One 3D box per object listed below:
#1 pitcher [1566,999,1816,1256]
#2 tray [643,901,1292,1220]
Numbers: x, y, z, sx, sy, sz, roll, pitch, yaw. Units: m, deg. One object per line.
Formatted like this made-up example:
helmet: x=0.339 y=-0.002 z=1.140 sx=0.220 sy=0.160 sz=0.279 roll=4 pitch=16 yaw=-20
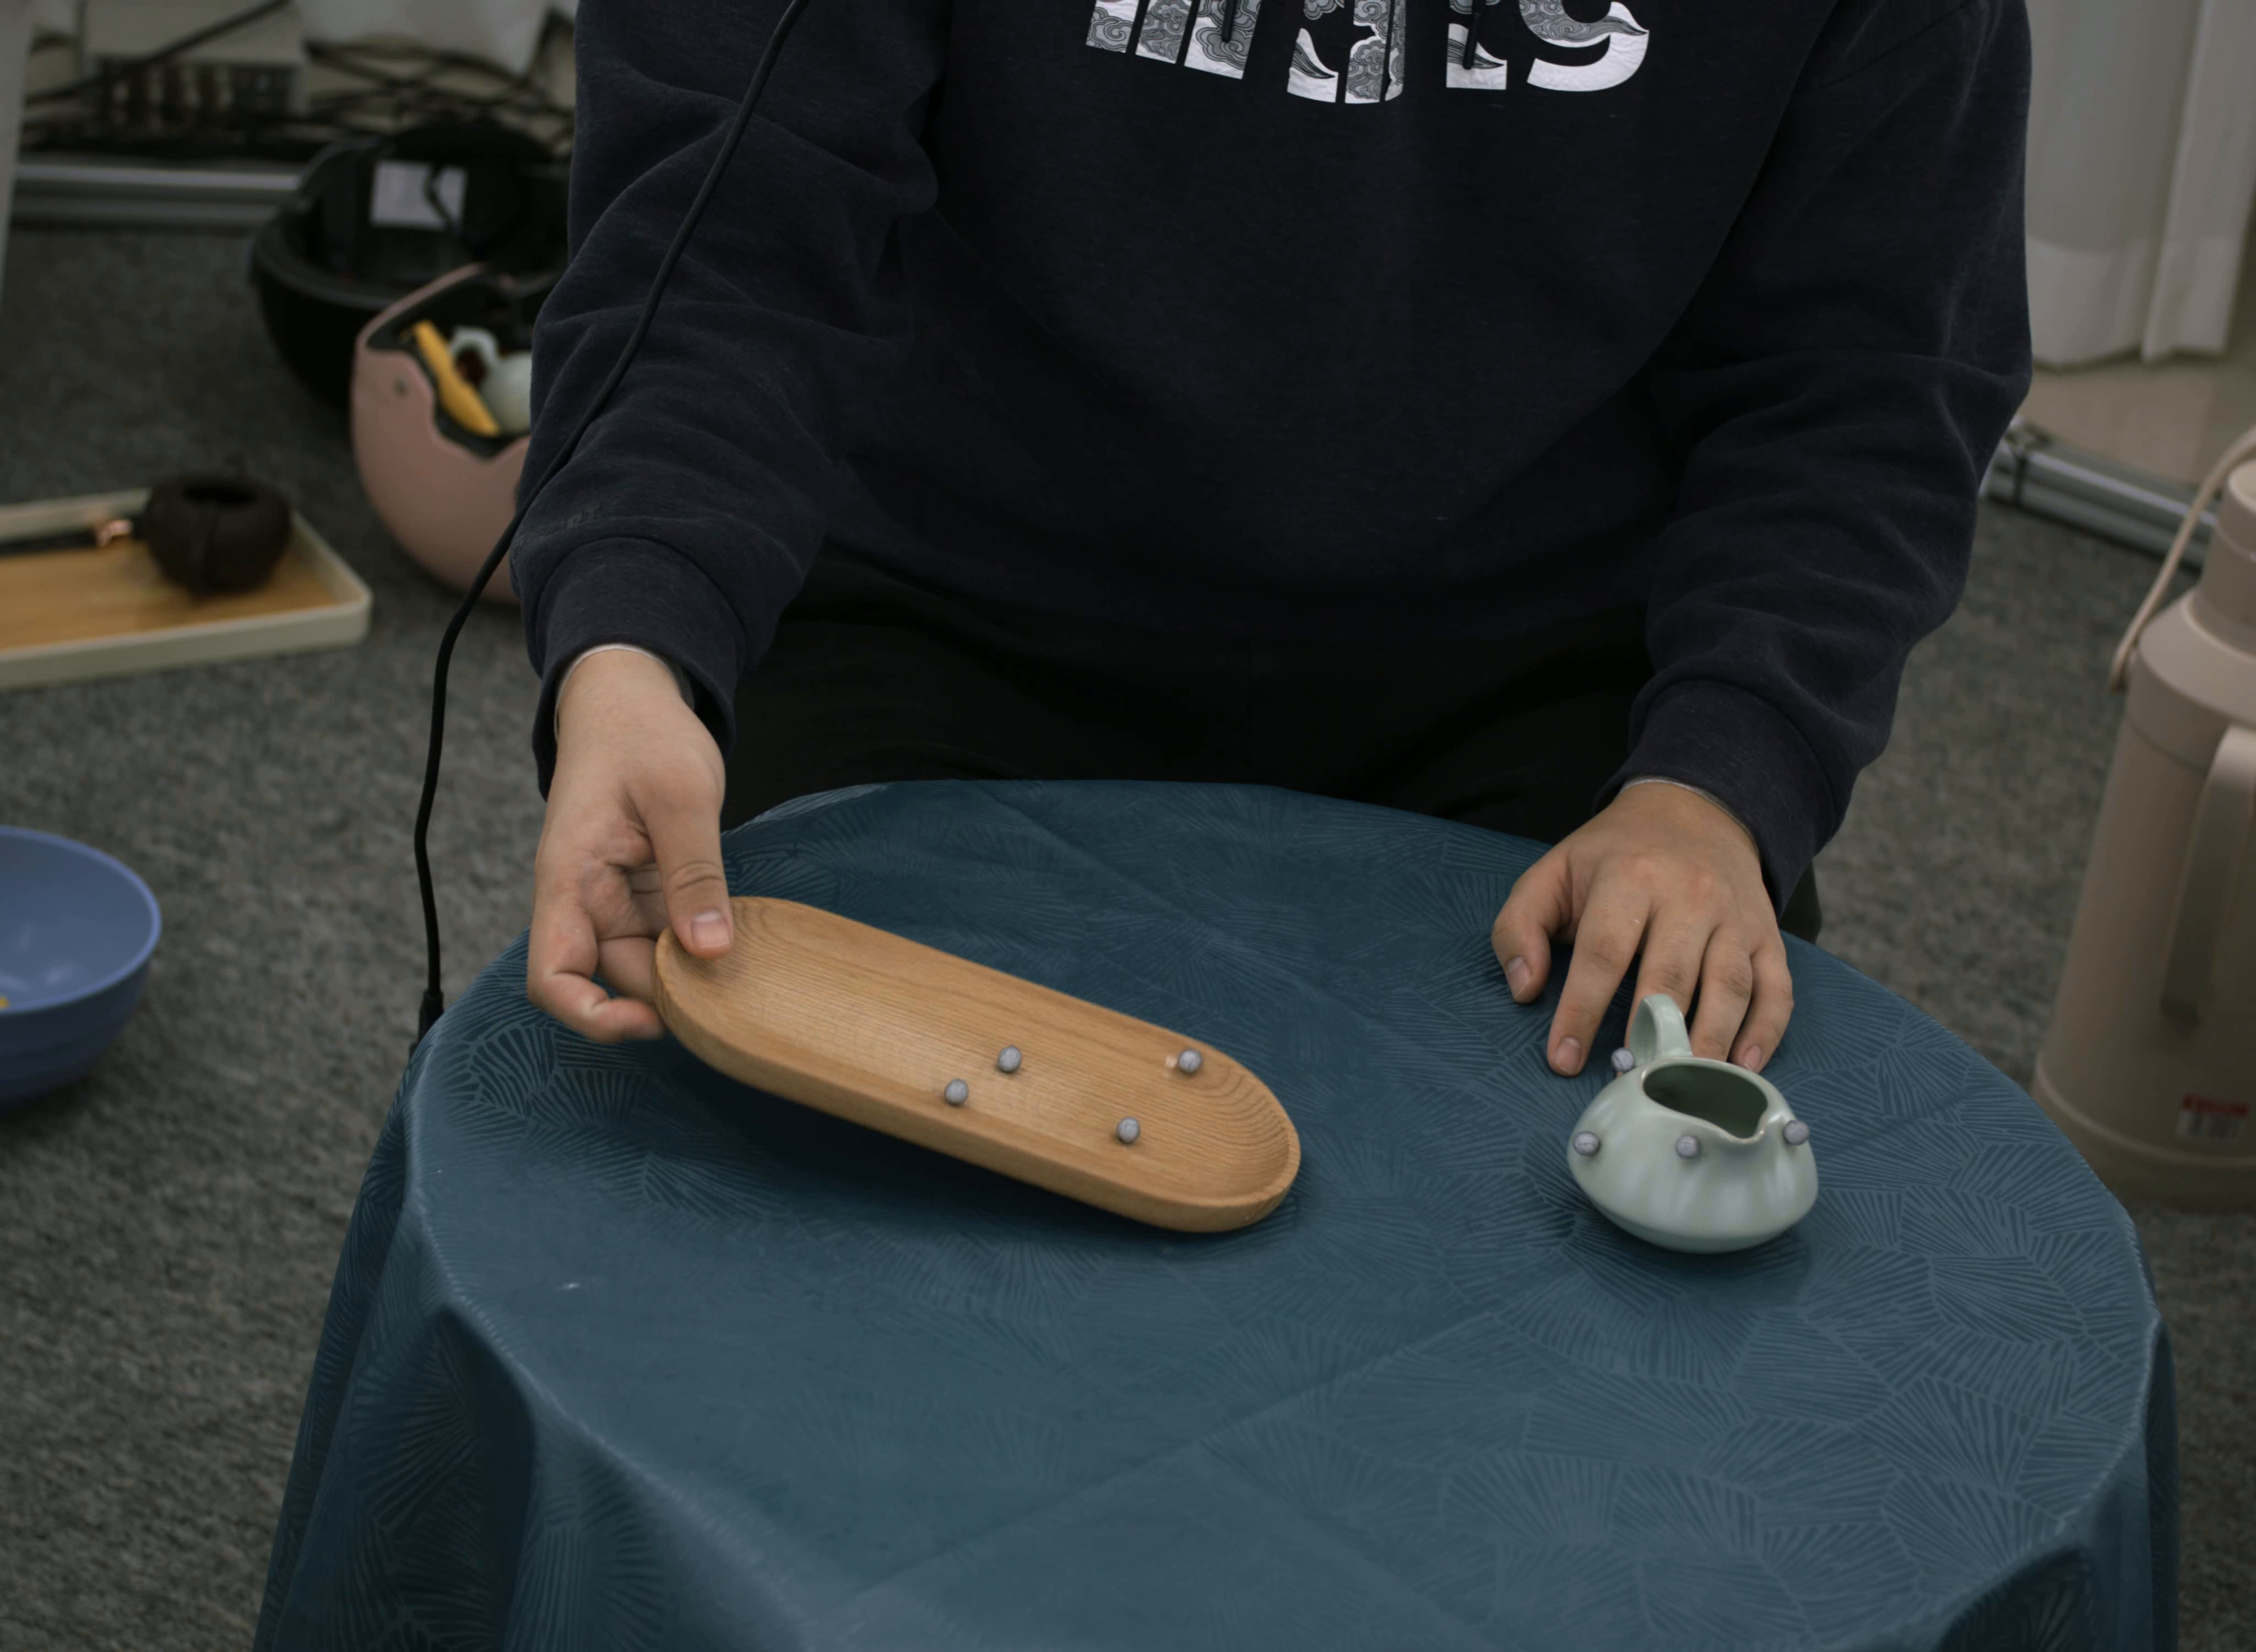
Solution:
pitcher: x=0.191 y=0.105 z=1.827 sx=0.085 sy=0.060 sz=0.109 roll=0 pitch=25 yaw=-16
tray: x=-0.055 y=0.080 z=1.810 sx=0.230 sy=0.020 sz=0.102 roll=18 pitch=25 yaw=-2
